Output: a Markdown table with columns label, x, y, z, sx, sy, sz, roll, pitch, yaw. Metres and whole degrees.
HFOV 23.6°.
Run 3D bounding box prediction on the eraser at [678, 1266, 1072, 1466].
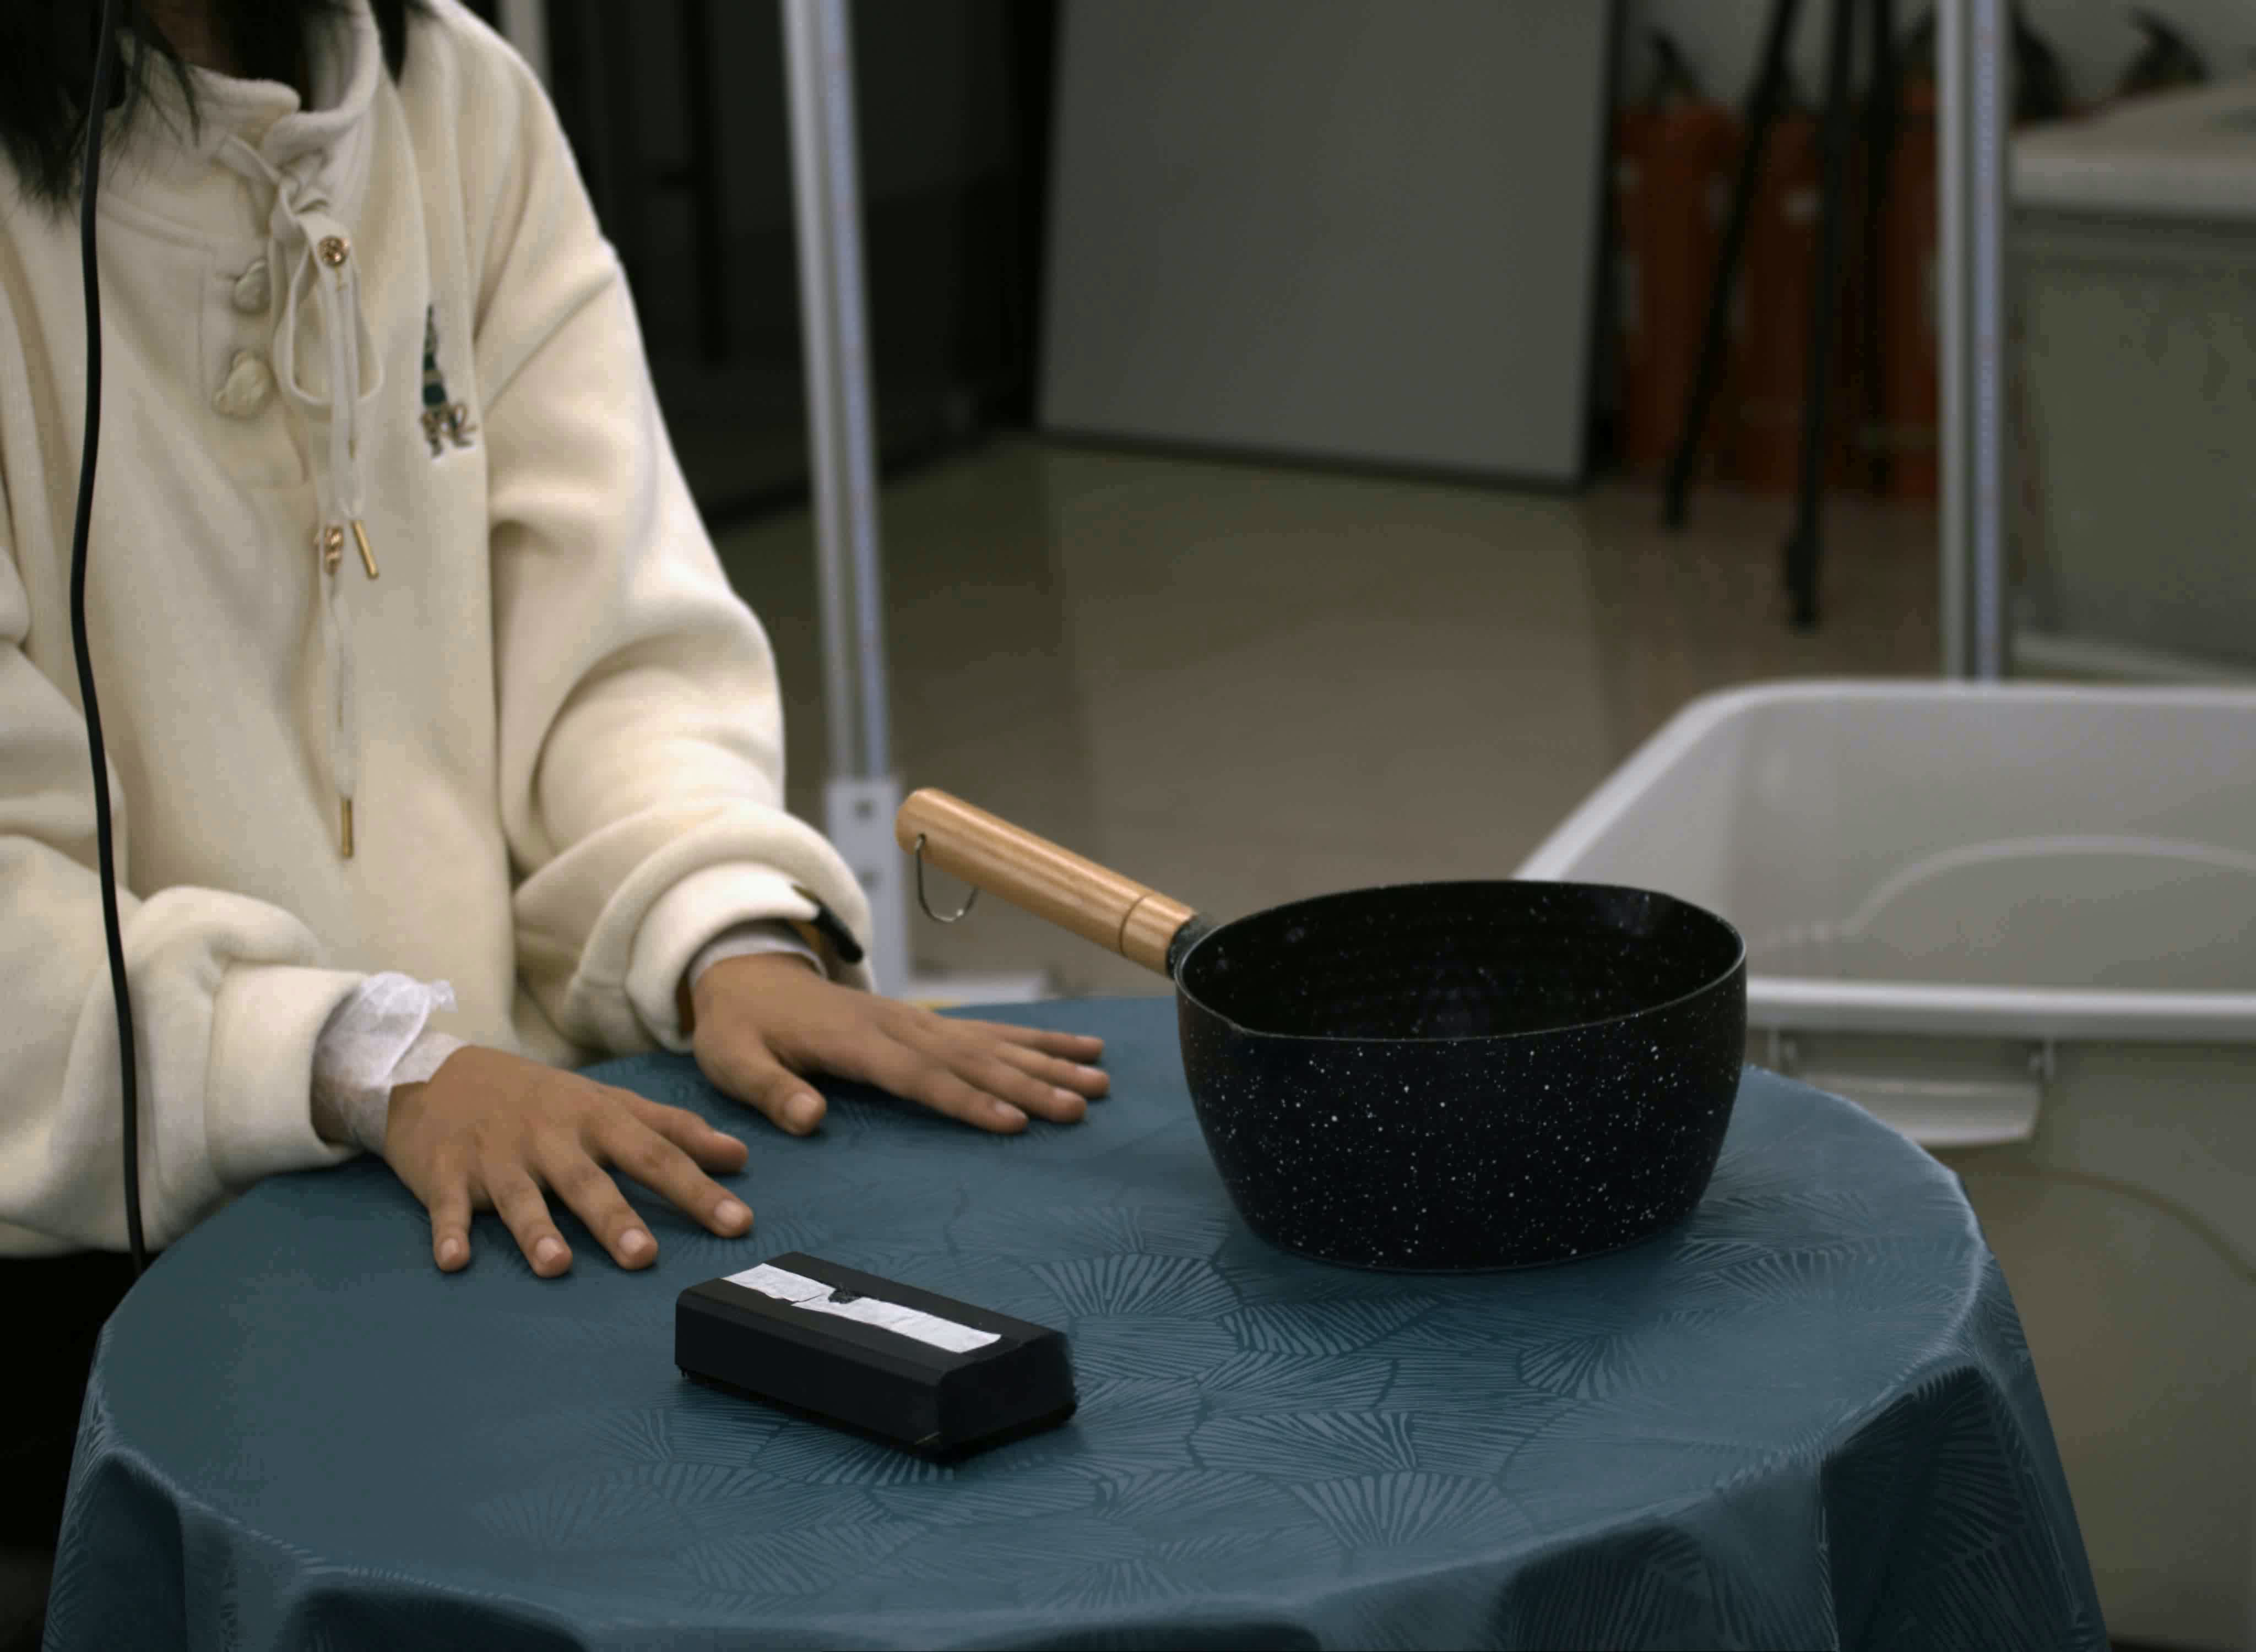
| label | x | y | z | sx | sy | sz | roll | pitch | yaw |
| --- | --- | --- | --- | --- | --- | --- | --- | --- | --- |
| eraser | -0.074 | 0.157 | 1.588 | 0.052 | 0.031 | 0.127 | -15 | 16 | -39 |

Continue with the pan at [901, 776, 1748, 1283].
| label | x | y | z | sx | sy | sz | roll | pitch | yaw |
| --- | --- | --- | --- | --- | --- | --- | --- | --- | --- |
| pan | 0.049 | 0.060 | 1.776 | 0.346 | 0.109 | 0.203 | 11 | 21 | 42 |
